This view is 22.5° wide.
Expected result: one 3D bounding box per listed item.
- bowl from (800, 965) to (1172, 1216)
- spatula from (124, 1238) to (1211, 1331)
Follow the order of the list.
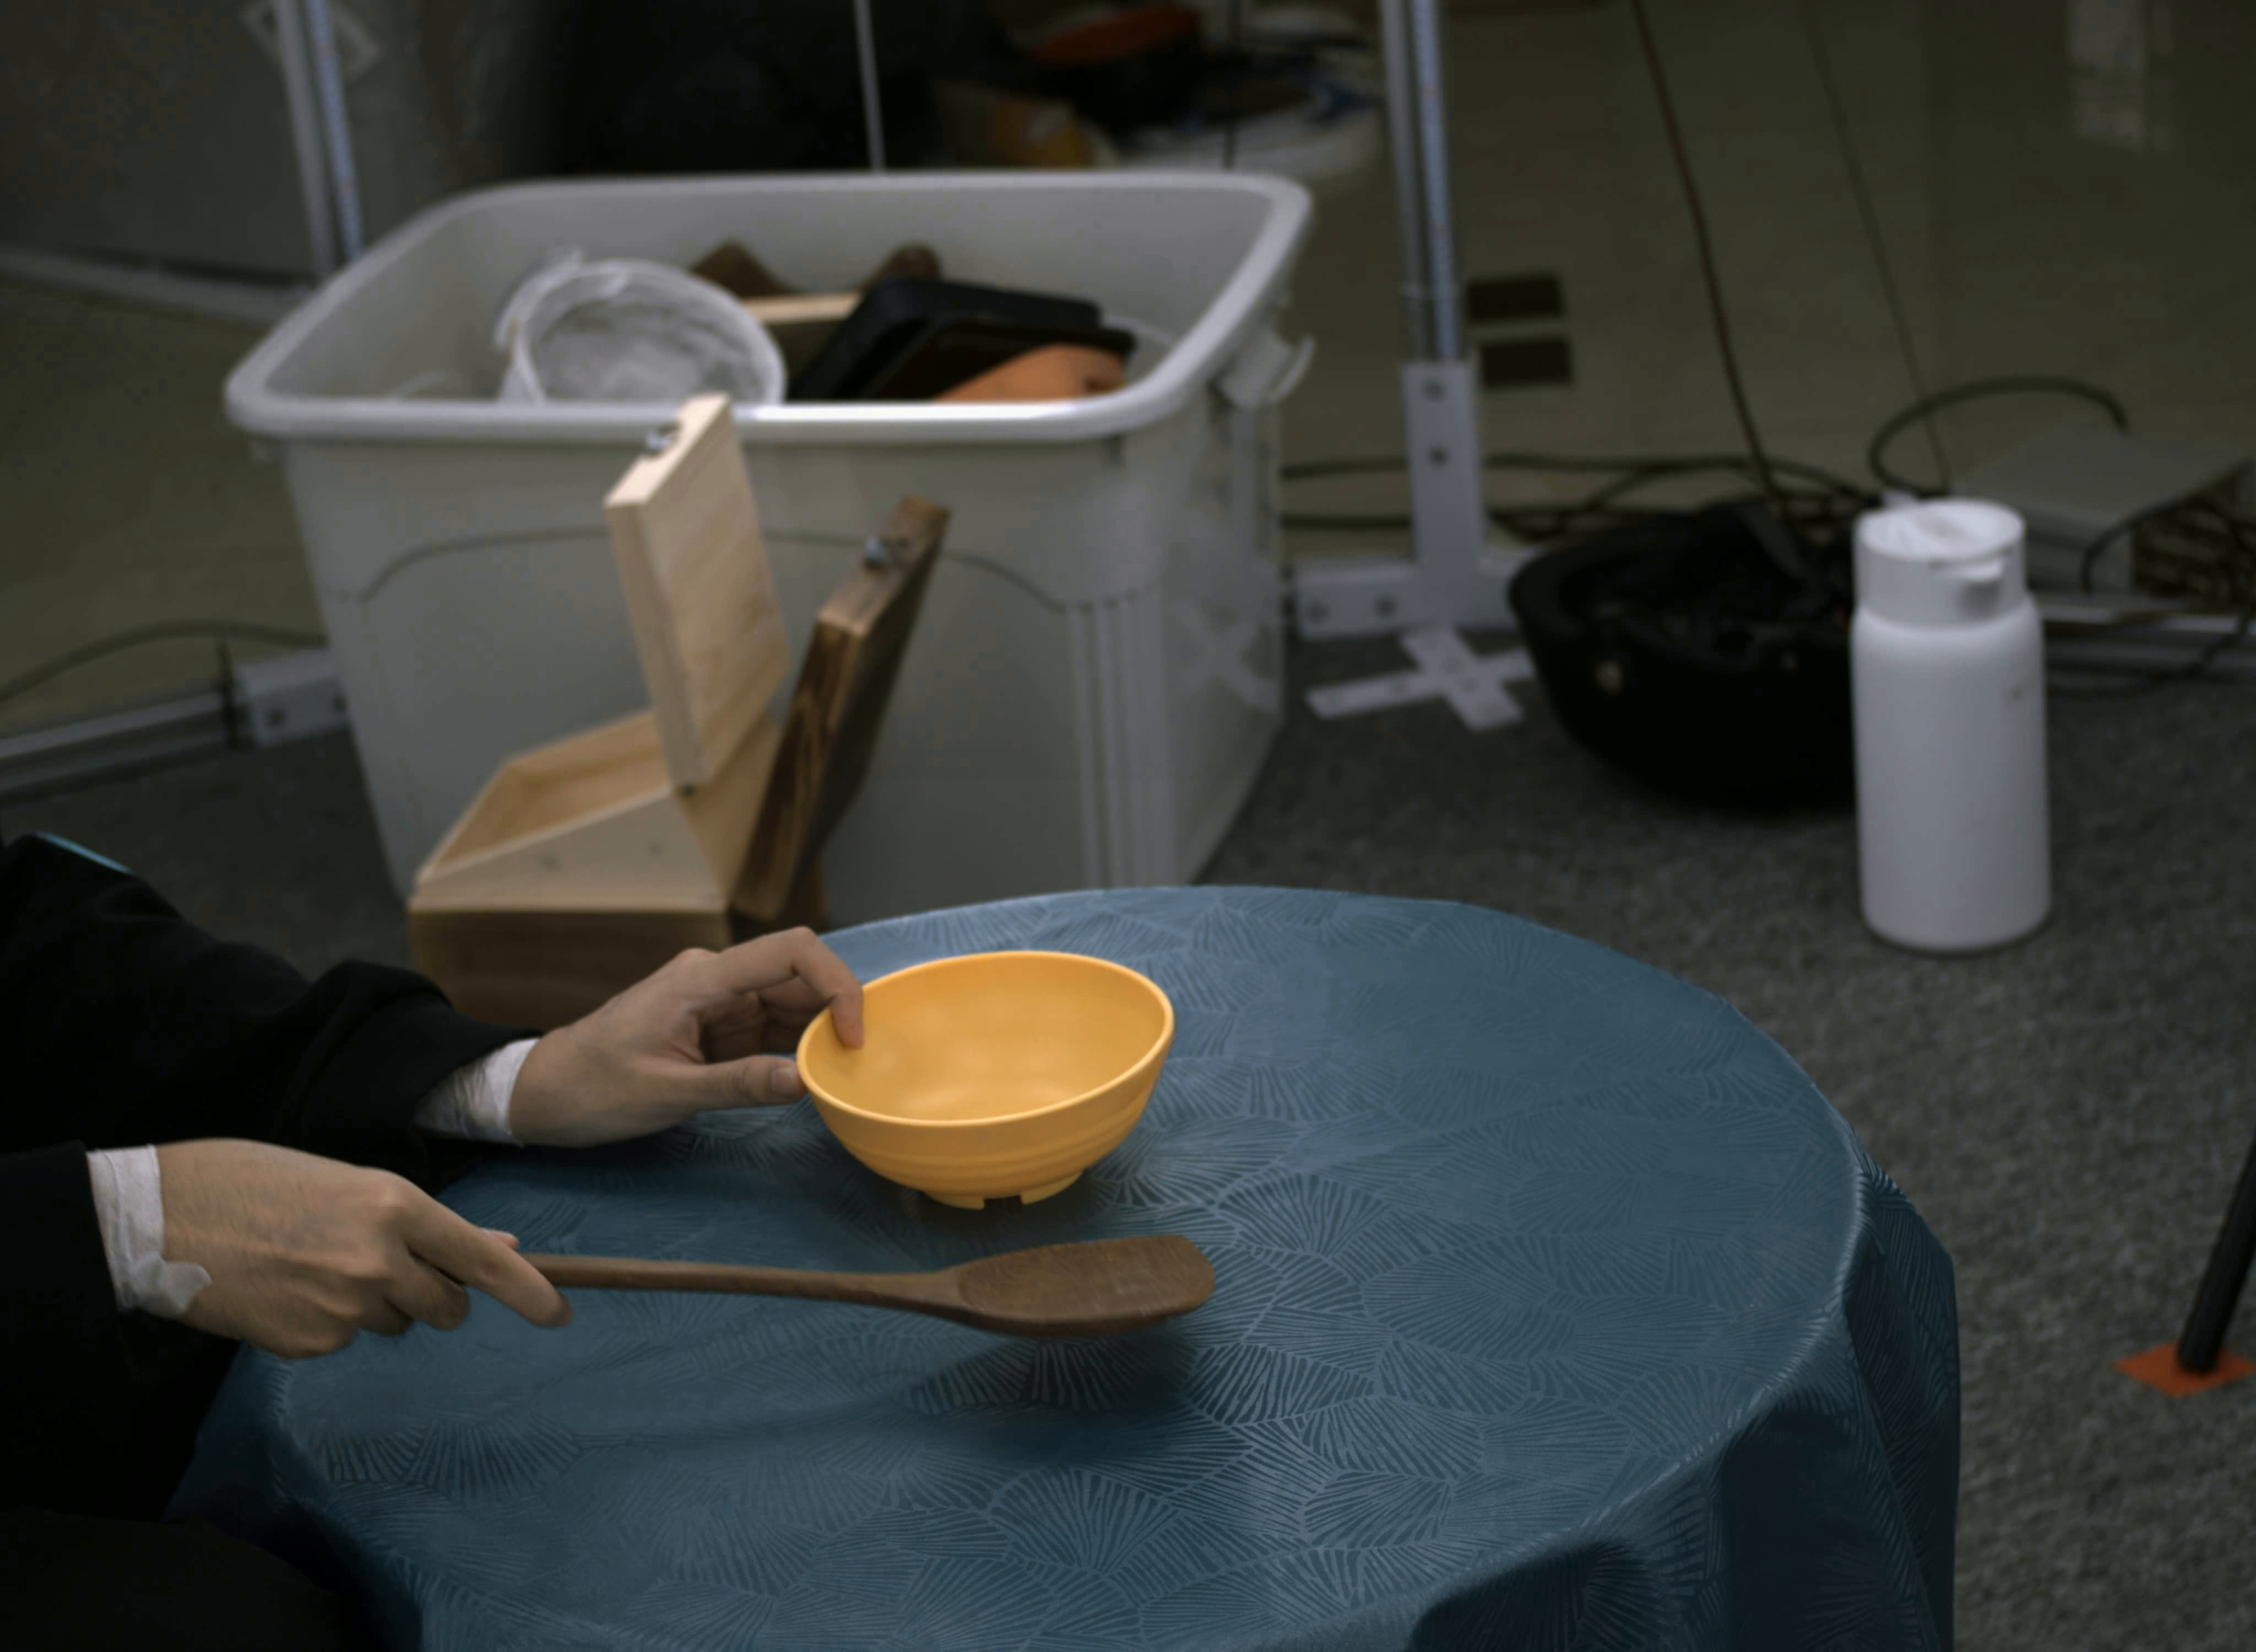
[{"bbox_3d":[-0.051,0.108,2.165,0.145,0.061,0.143,-6,23,3],"label":"bowl"},{"bbox_3d":[-0.163,0.158,2.011,0.385,0.016,0.095,2,12,0],"label":"spatula"}]
